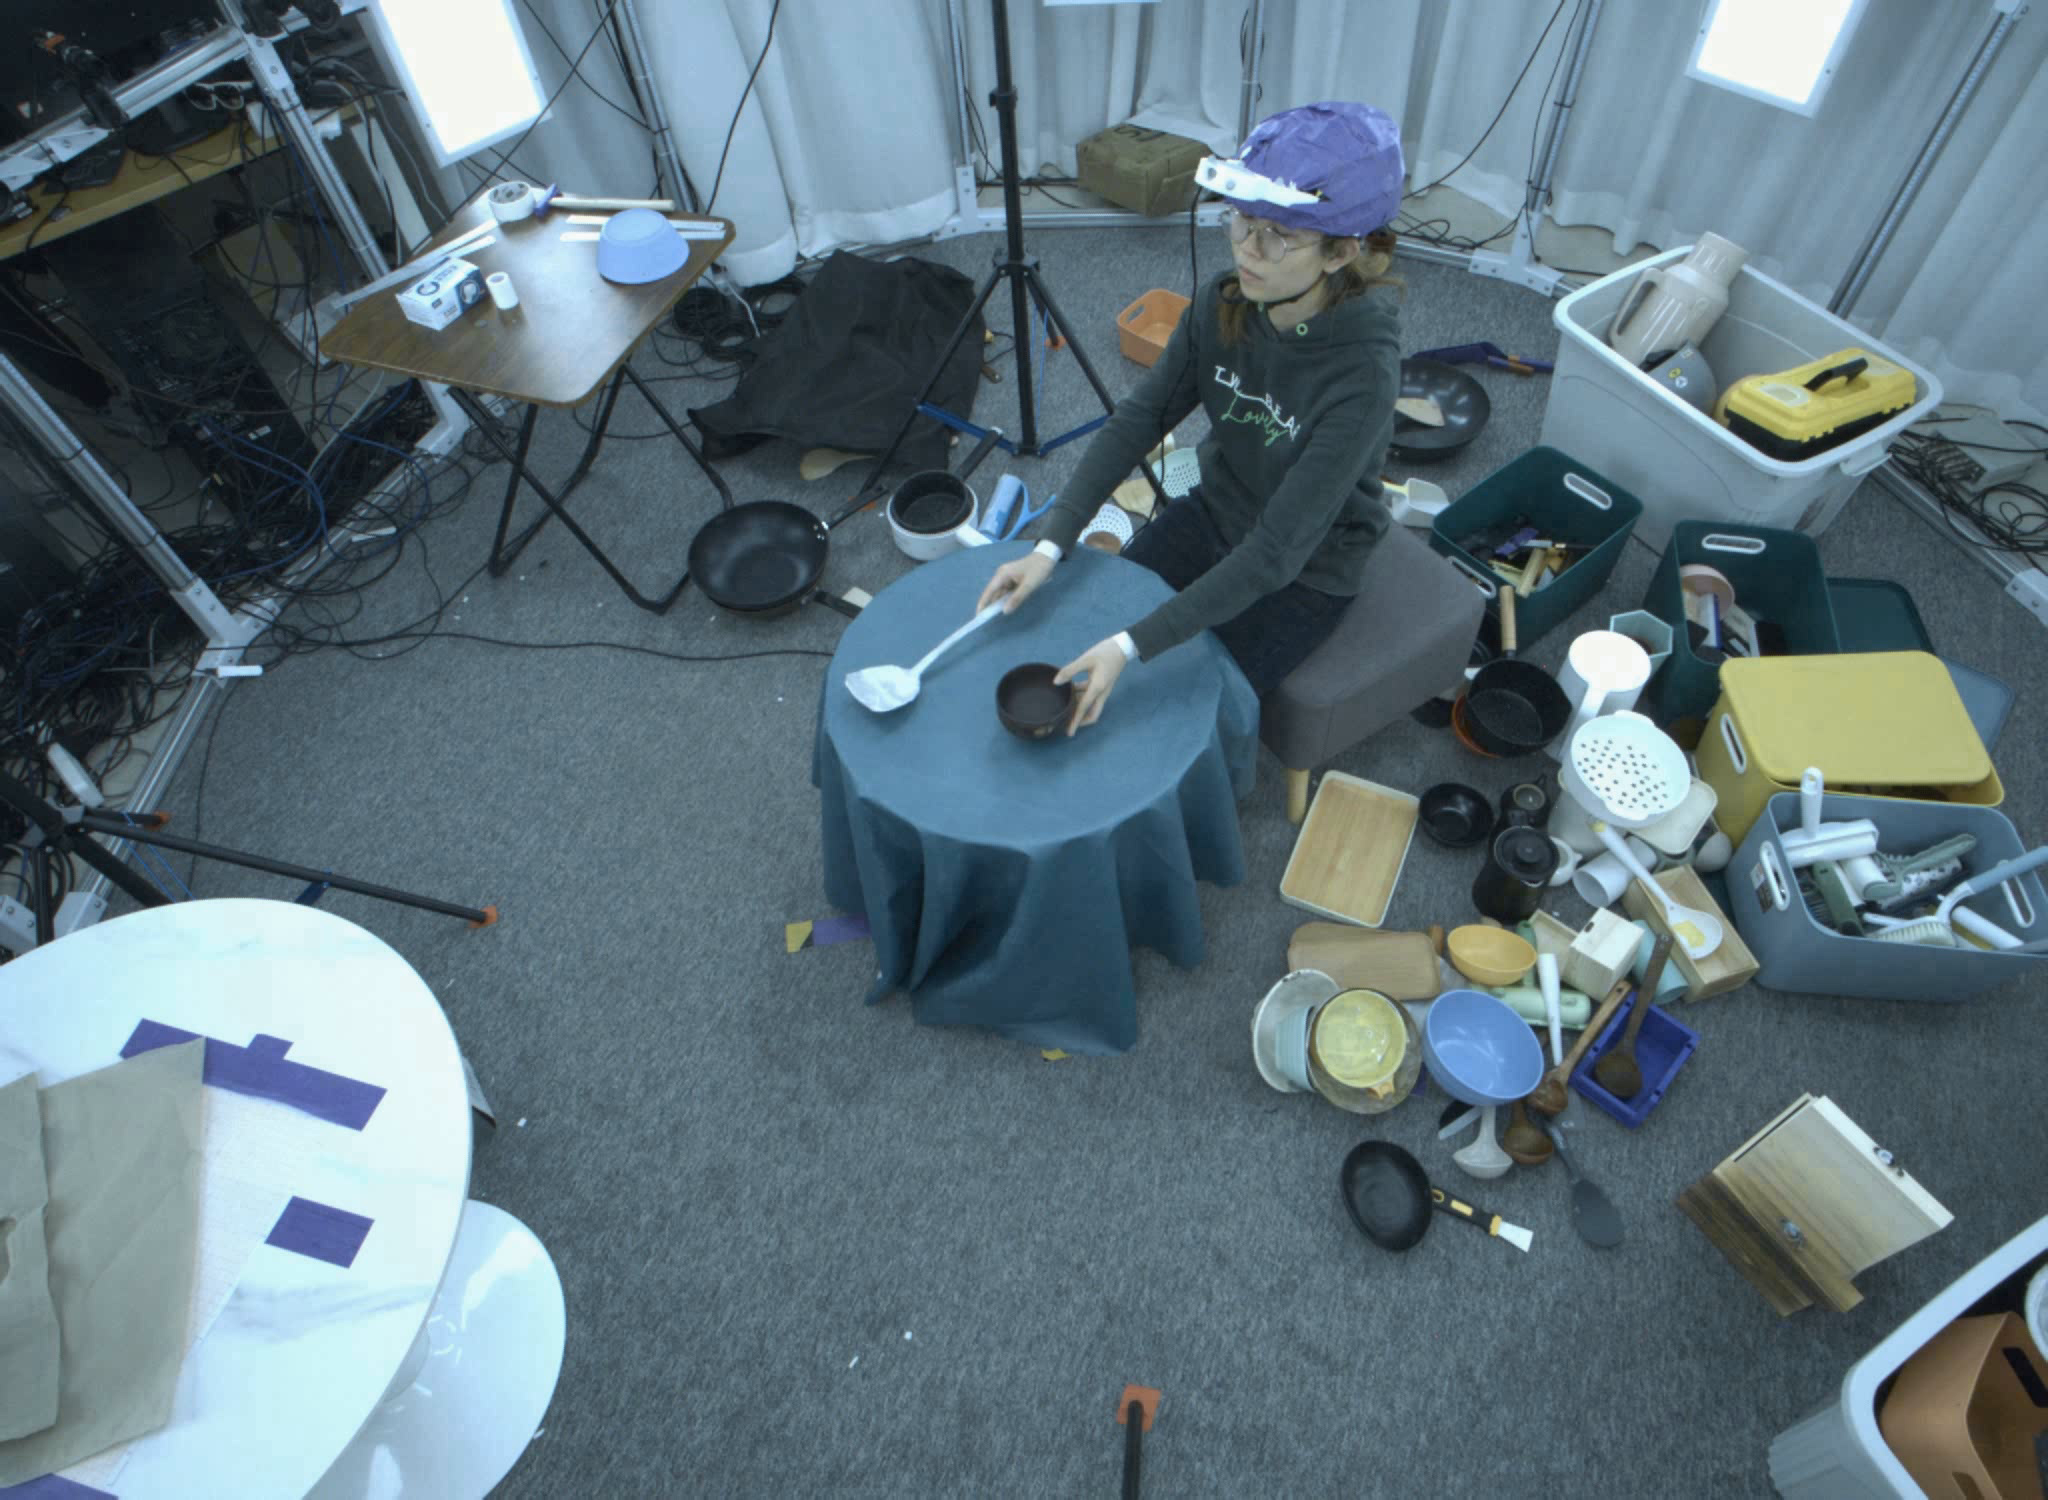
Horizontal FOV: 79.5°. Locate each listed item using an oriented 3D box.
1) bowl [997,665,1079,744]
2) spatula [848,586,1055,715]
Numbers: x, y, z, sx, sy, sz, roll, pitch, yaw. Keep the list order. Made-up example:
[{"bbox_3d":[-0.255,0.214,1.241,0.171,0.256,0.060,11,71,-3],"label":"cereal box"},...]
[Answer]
[{"bbox_3d":[0.021,-0.058,1.779,0.118,0.070,0.117,1,55,0],"label":"bowl"},{"bbox_3d":[-0.102,-0.166,1.869,0.367,0.045,0.097,-37,59,-16],"label":"spatula"}]
